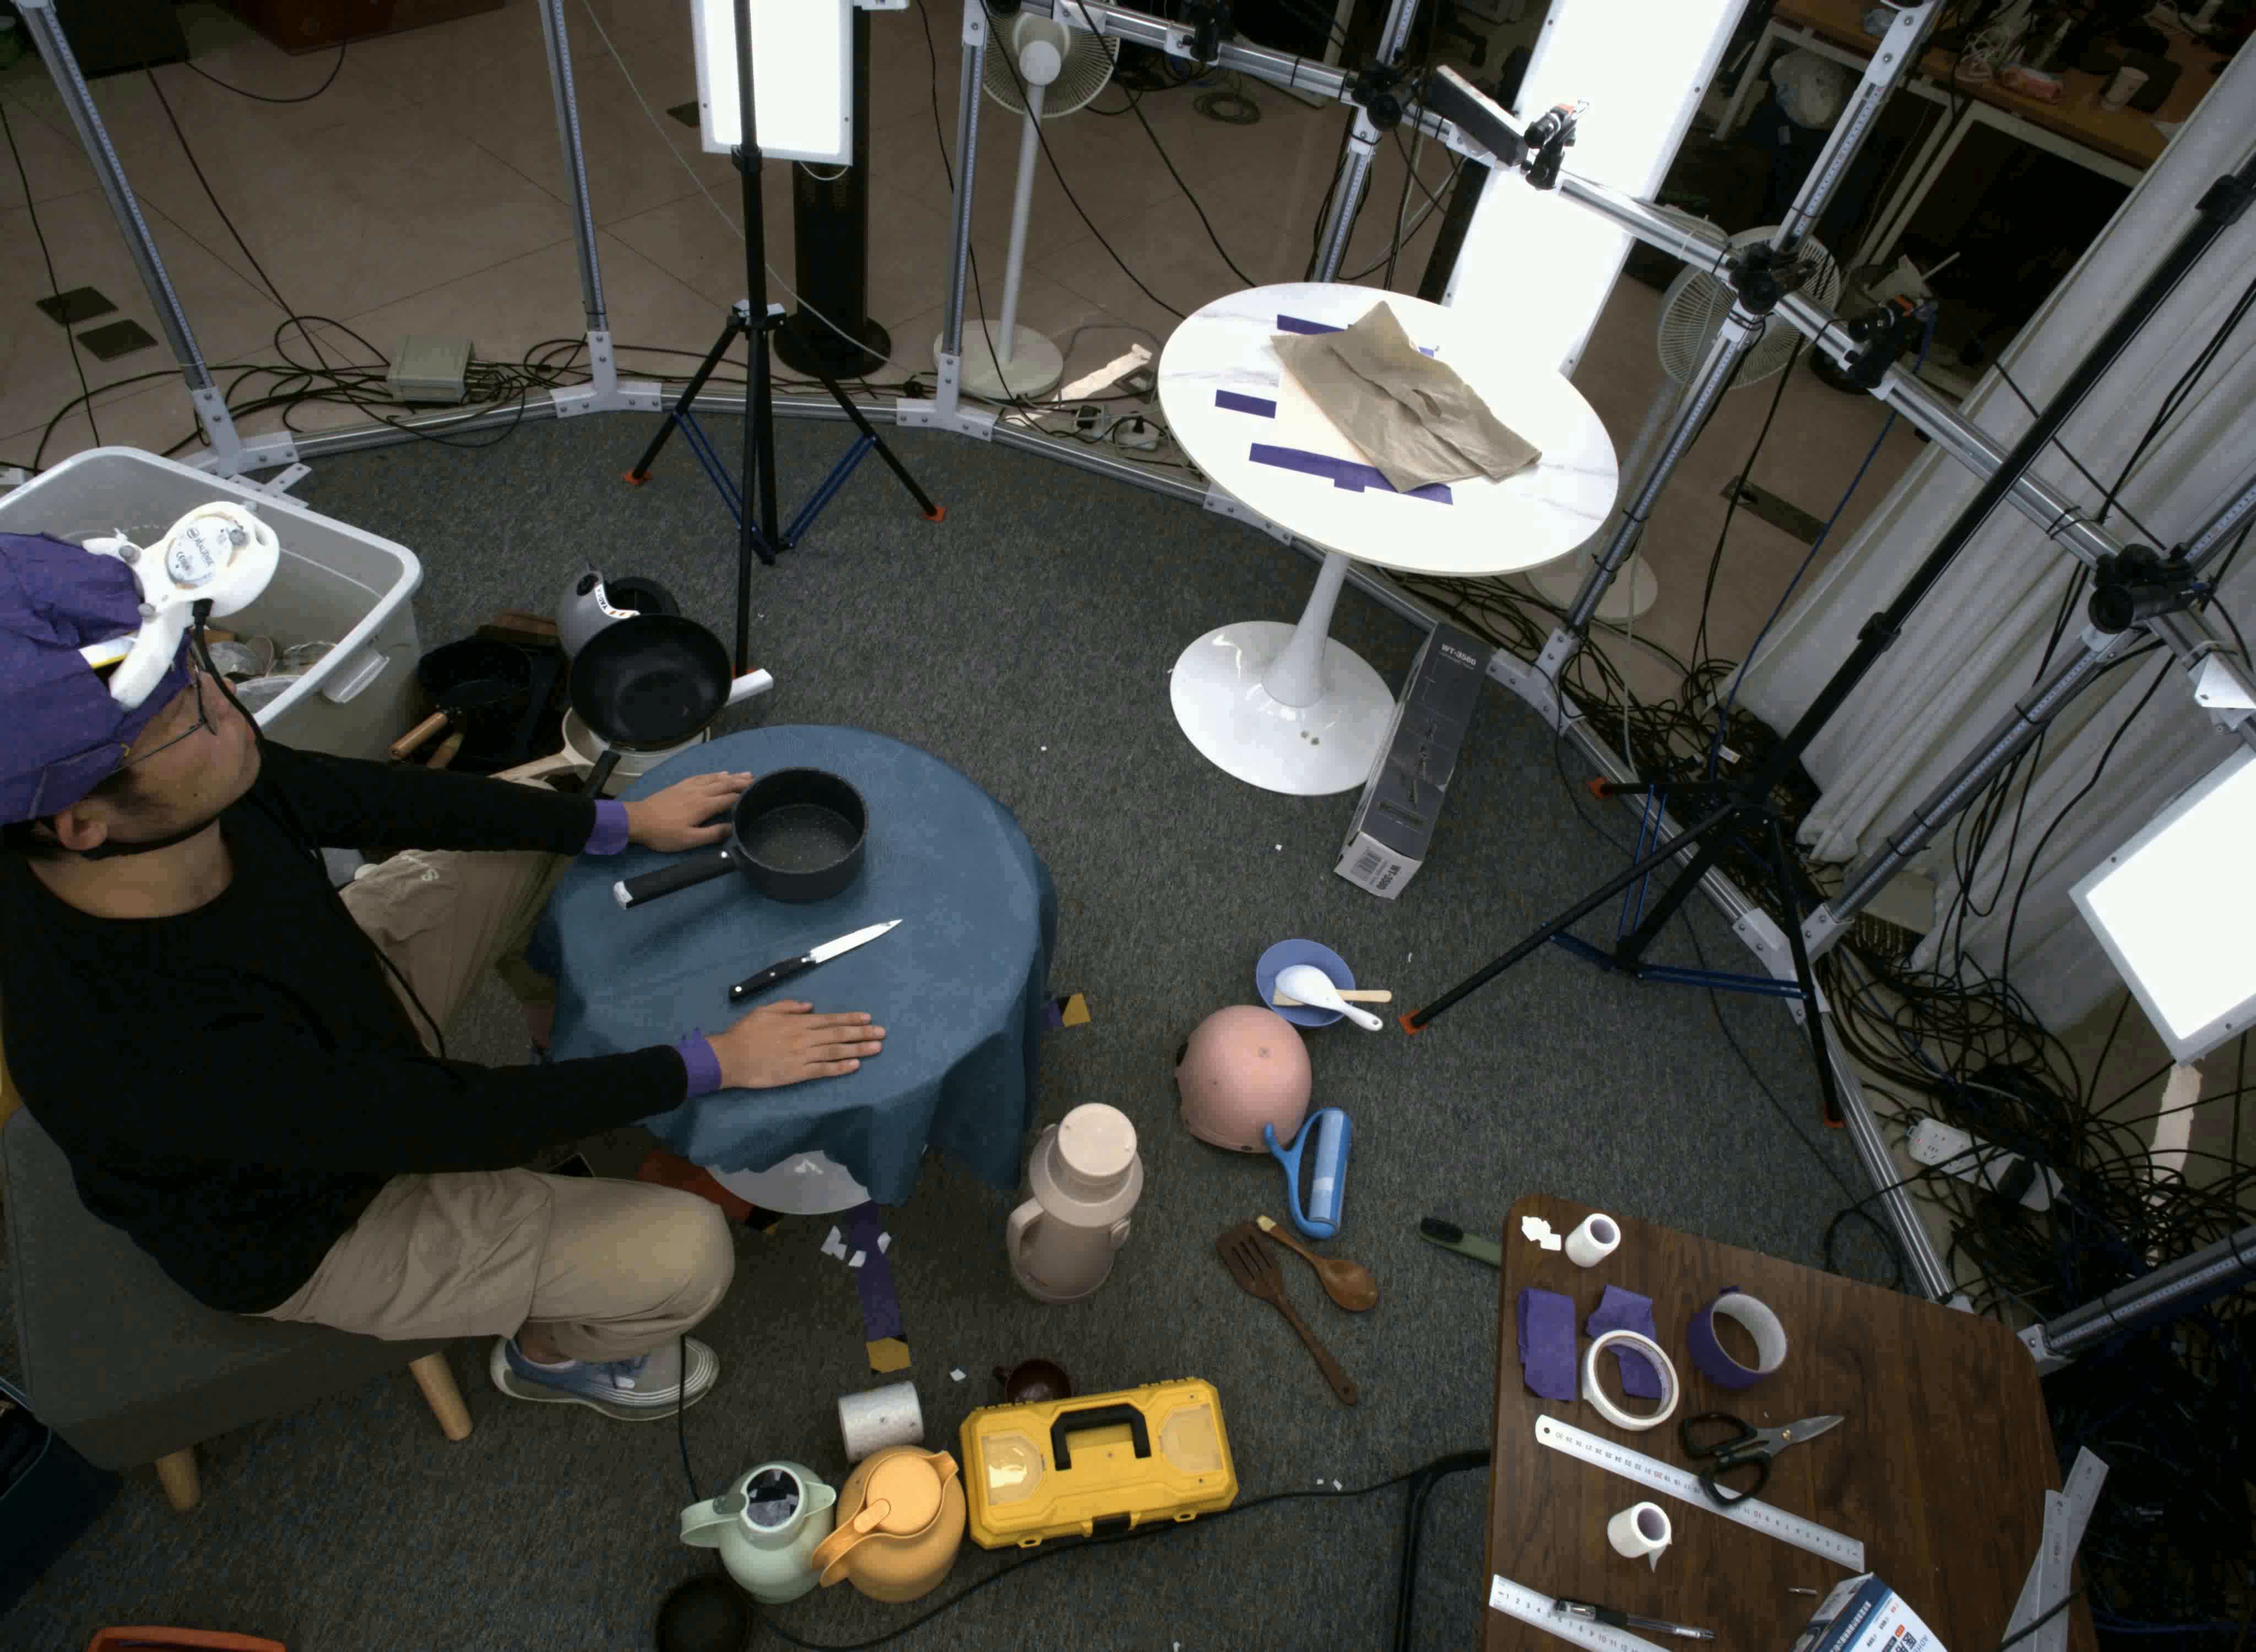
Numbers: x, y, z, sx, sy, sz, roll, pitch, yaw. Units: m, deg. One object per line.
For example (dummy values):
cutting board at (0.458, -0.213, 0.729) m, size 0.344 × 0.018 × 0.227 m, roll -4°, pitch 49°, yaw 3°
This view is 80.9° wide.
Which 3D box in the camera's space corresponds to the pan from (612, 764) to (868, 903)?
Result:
pan at (-0.483, 0.038, 1.623) m, size 0.330 × 0.088 × 0.167 m, roll -23°, pitch 62°, yaw -29°

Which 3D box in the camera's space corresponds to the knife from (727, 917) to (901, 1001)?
knife at (-0.382, 0.160, 1.606) m, size 0.239 × 0.016 × 0.024 m, roll -24°, pitch 61°, yaw -32°
